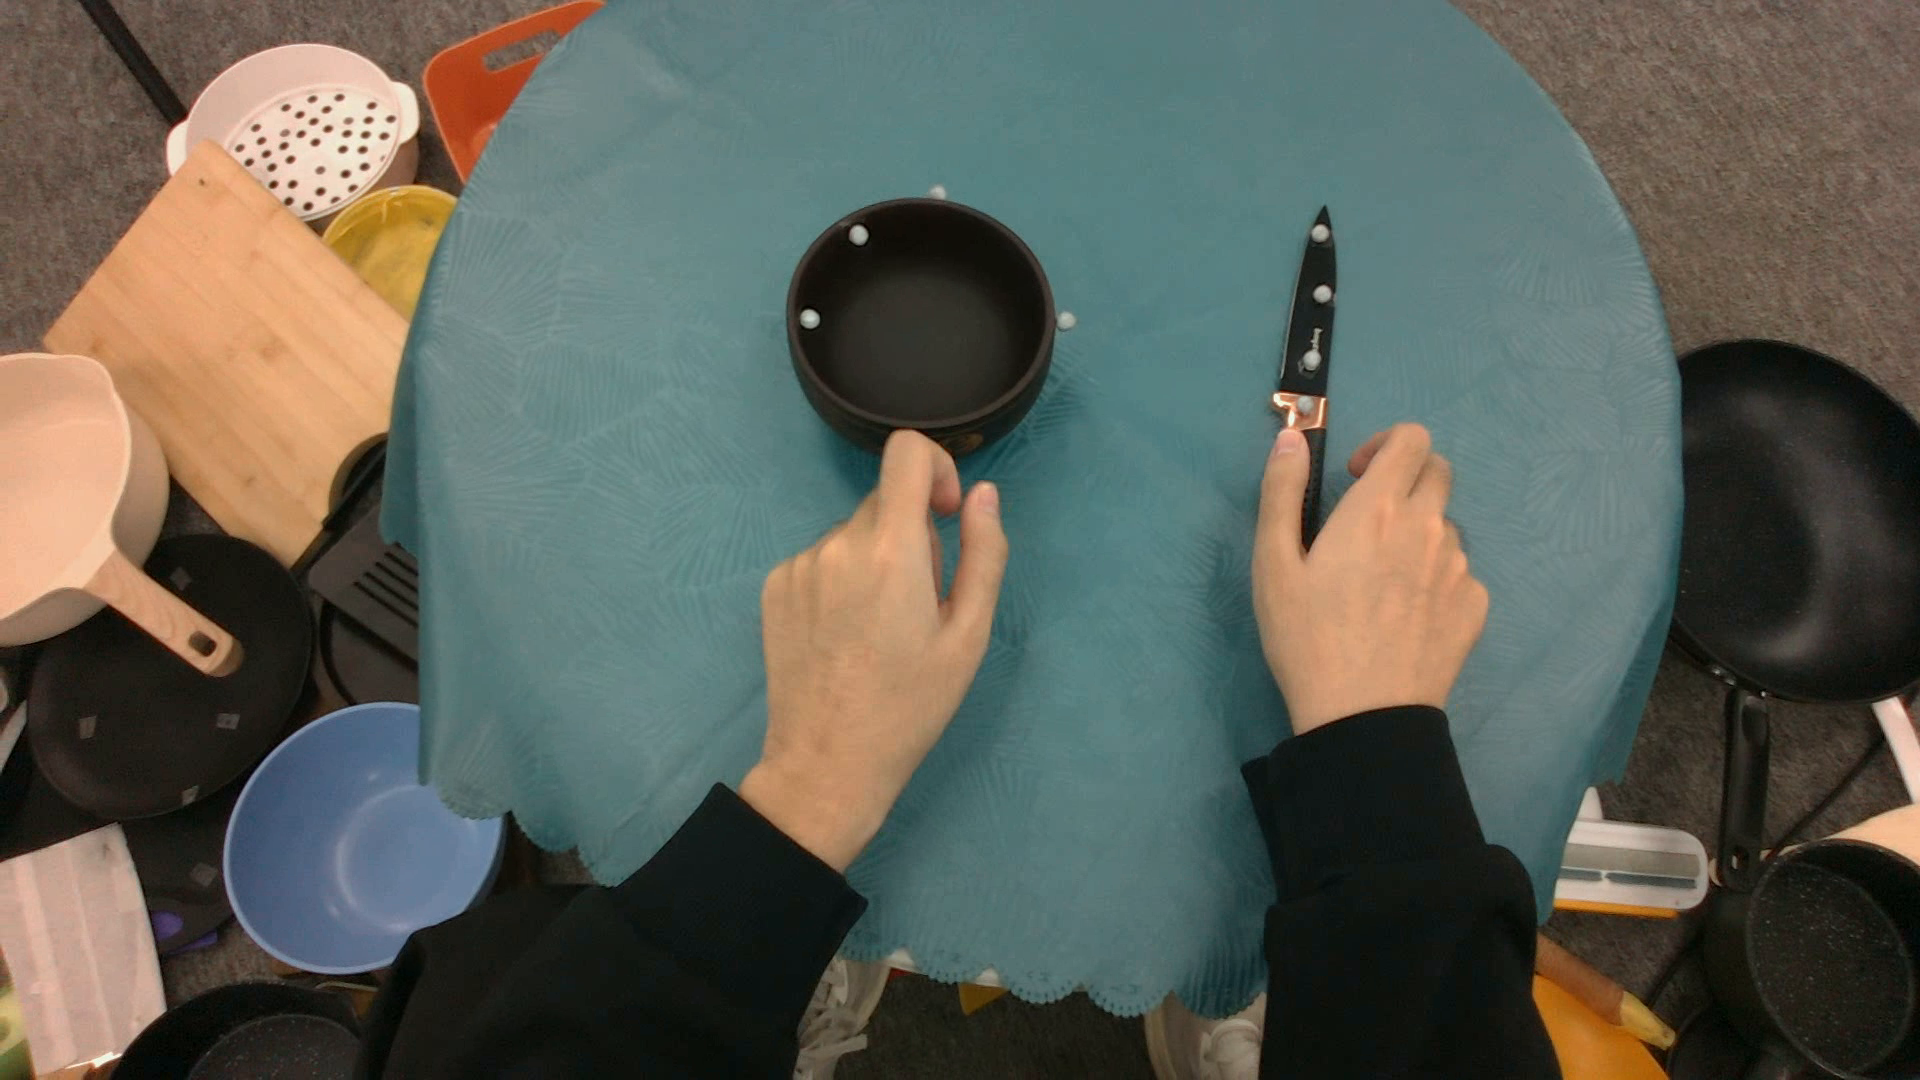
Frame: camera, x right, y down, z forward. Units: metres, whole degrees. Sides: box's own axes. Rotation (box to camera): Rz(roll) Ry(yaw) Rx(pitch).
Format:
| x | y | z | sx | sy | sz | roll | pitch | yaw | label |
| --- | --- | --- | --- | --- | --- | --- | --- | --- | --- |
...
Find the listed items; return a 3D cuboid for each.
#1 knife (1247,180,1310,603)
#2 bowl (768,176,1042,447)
| x | y | z | sx | sy | sz | roll | pitch | yaw | label |
| --- | --- | --- | --- | --- | --- | --- | --- | --- | --- |
| 0.151 | -0.076 | 0.648 | 0.026 | 0.017 | 0.226 | 5 | 68 | 8 | knife |
| -0.023 | -0.095 | 0.614 | 0.118 | 0.069 | 0.118 | 0 | 70 | 0 | bowl |
